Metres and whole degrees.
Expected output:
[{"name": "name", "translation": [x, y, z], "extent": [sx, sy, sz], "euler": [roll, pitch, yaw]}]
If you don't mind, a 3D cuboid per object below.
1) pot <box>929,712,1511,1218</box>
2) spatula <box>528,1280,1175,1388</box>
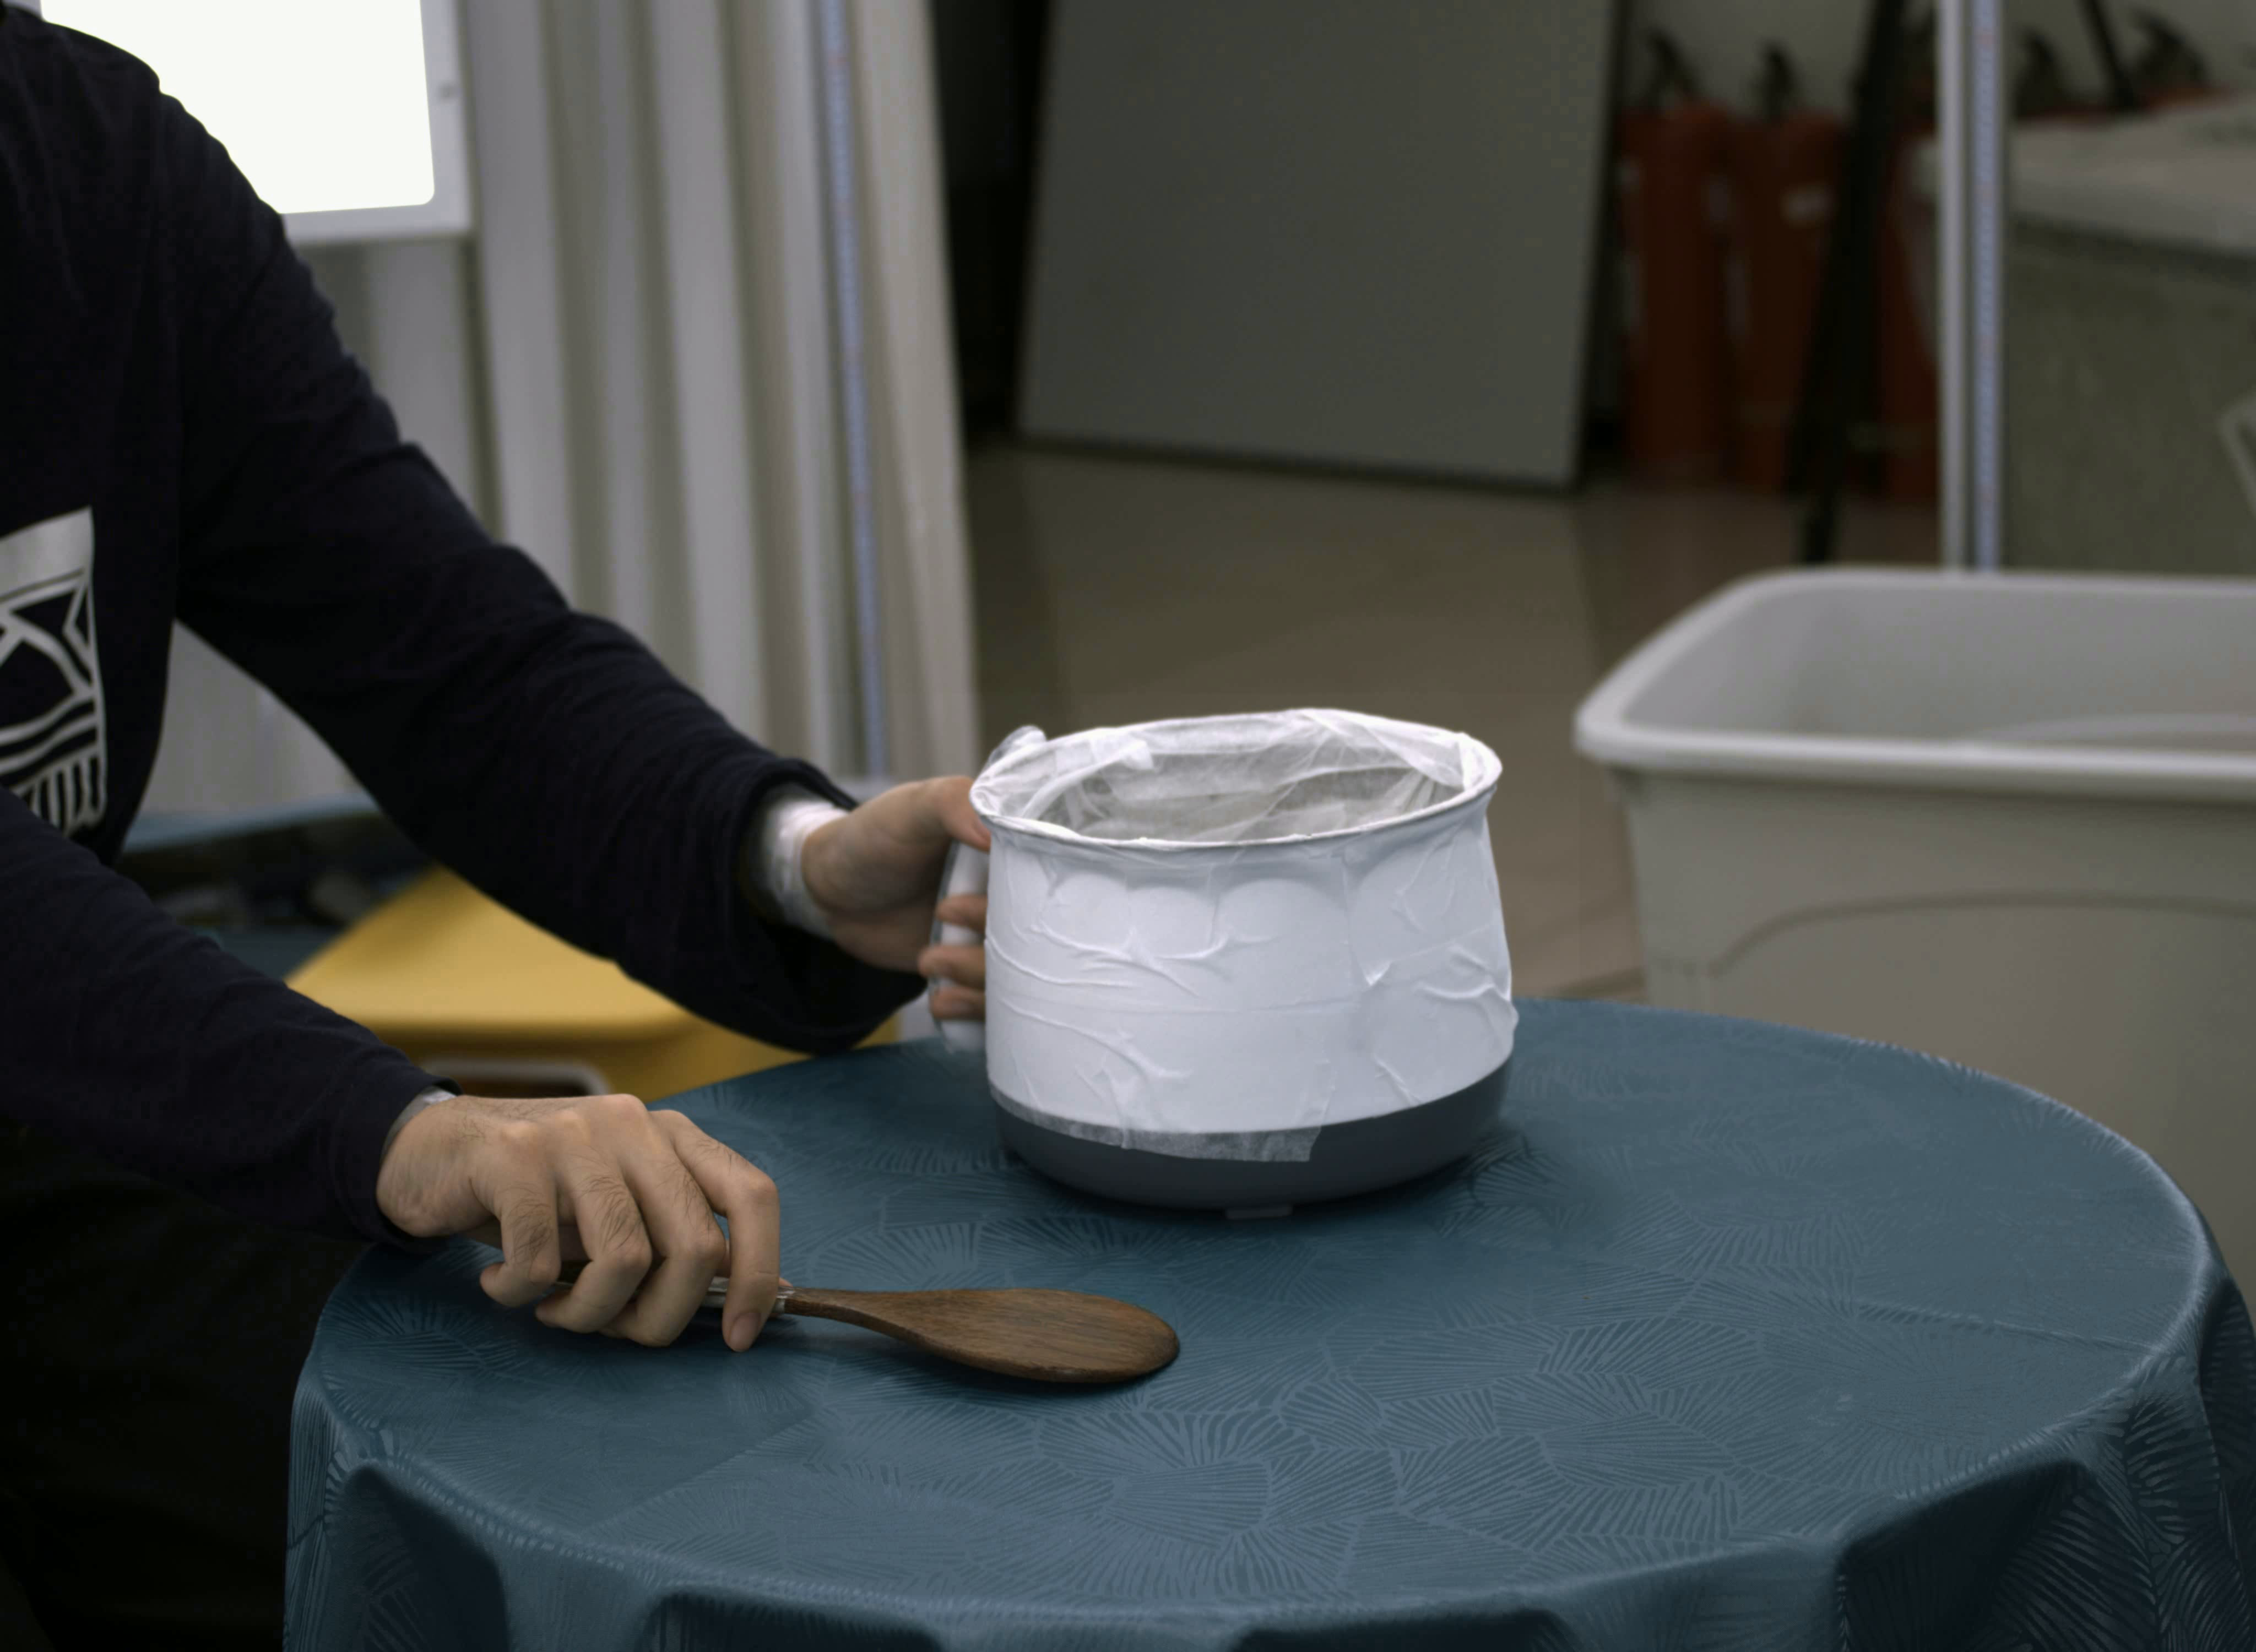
[{"name": "pot", "translation": [0.019, 0.040, 1.806], "extent": [0.236, 0.138, 0.175], "euler": [11, 17, 43]}, {"name": "spatula", "translation": [-0.086, 0.151, 1.645], "extent": [0.216, 0.009, 0.071], "euler": [4, 10, 24]}]
